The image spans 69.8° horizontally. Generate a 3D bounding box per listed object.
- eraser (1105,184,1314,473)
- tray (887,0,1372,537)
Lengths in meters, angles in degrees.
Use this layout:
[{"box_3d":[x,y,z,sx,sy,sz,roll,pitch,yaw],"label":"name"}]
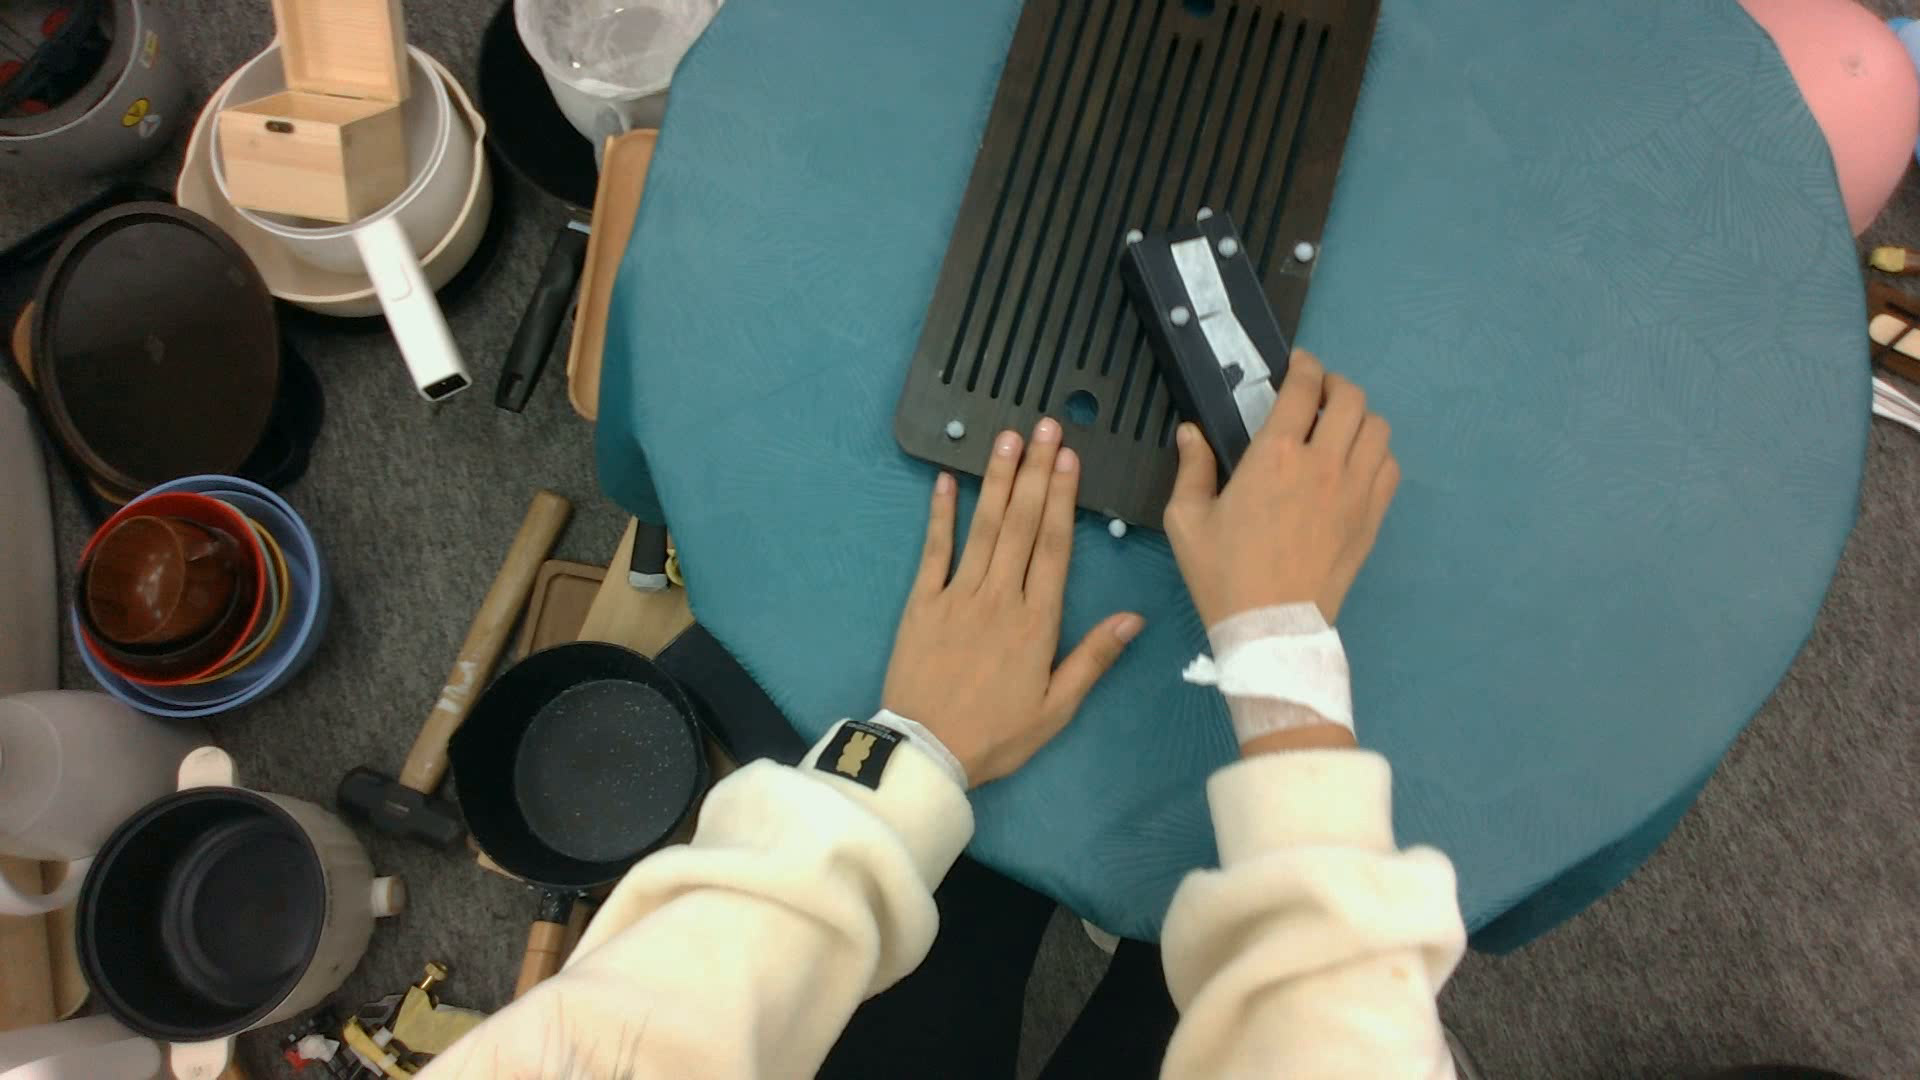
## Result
[{"box_3d":[0.112,-0.097,0.632,0.053,0.030,0.125,-21,80,-2],"label":"eraser"},{"box_3d":[0.087,-0.163,0.668,0.170,0.018,0.306,16,77,3],"label":"tray"}]
